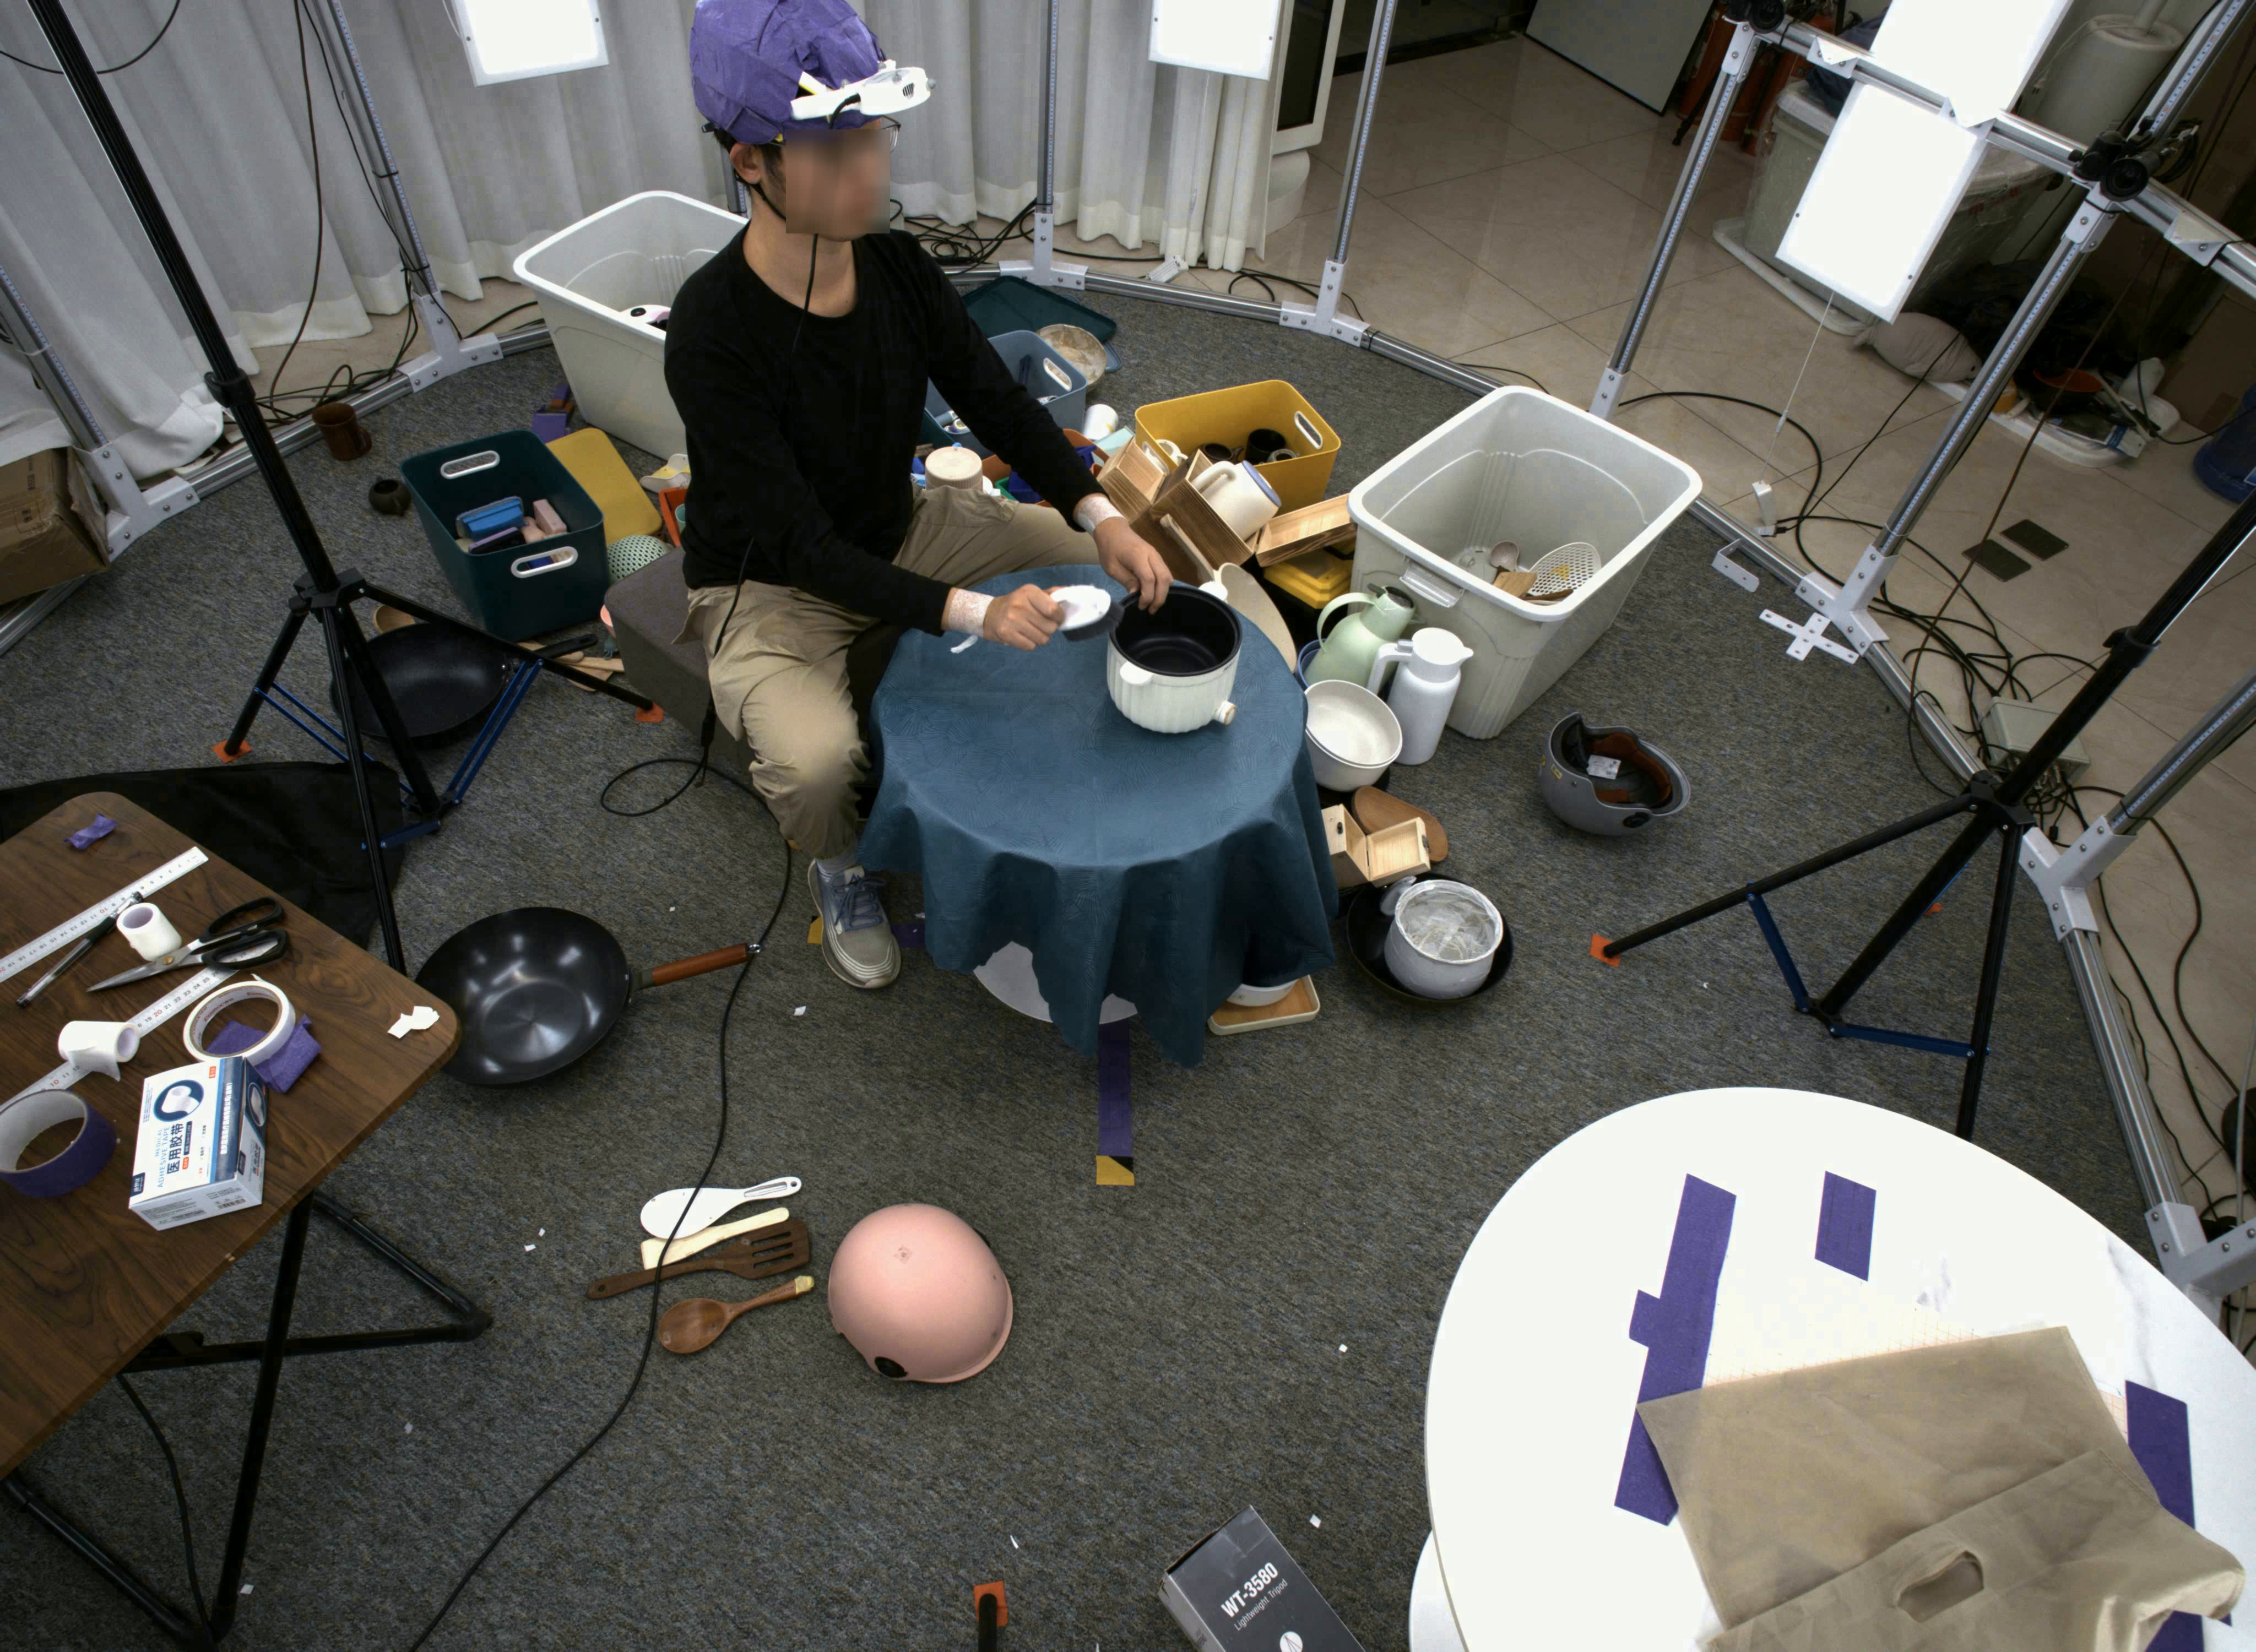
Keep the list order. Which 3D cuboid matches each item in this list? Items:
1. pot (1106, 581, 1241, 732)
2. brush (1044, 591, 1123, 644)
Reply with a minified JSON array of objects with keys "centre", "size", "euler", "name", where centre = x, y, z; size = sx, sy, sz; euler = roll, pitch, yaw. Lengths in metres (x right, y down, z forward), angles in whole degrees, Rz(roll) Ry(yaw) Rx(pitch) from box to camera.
[{"centre":[0.064,-0.224,1.779],"size":[0.192,0.139,0.244],"euler":[26,53,20],"name":"pot"},{"centre":[-0.066,-0.278,1.669],"size":[0.099,0.071,0.051],"euler":[-3,63,43],"name":"brush"}]
